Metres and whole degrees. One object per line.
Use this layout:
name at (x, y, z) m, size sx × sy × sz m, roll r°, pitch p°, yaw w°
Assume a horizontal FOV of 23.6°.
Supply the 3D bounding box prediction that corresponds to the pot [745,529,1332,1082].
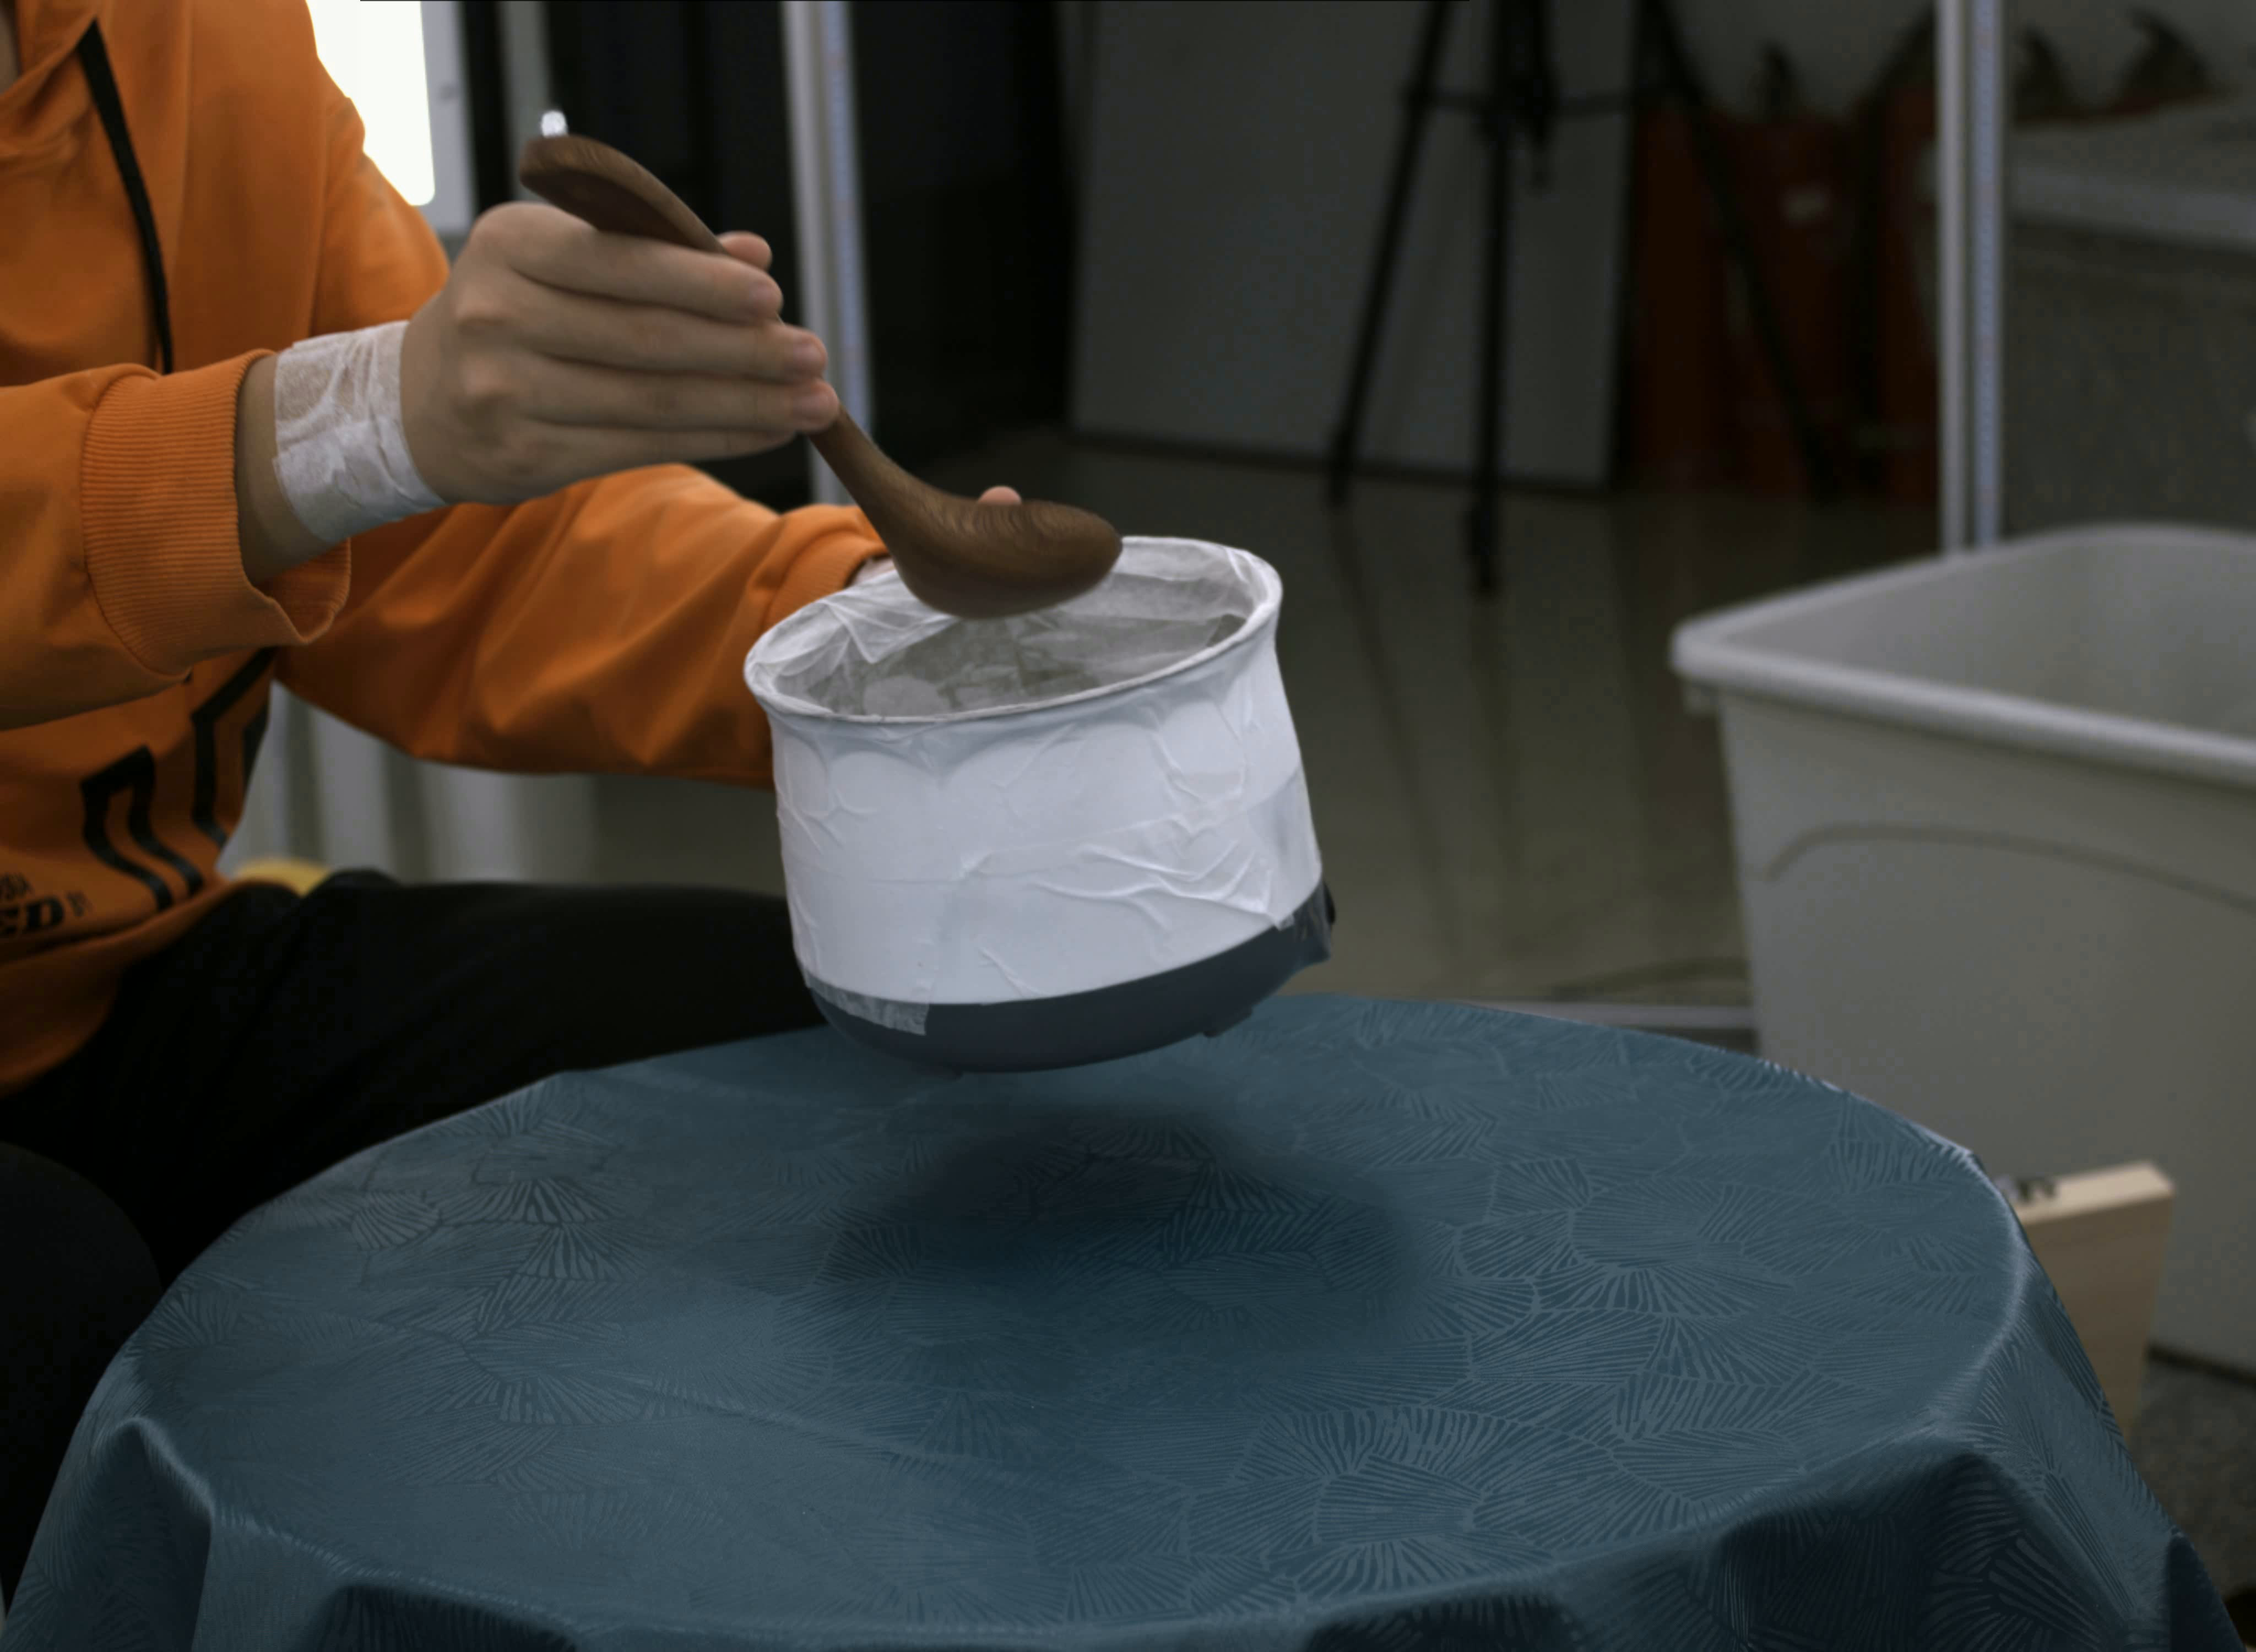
pot at (-0.030, -0.015, 1.776) m, size 0.176 × 0.138 × 0.235 m, roll -10°, pitch 19°, yaw -2°

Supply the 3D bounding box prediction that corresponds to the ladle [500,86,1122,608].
ladle at (-0.095, -0.150, 1.631) m, size 0.077 × 0.257 × 0.065 m, roll -24°, pitch 38°, yaw 31°
